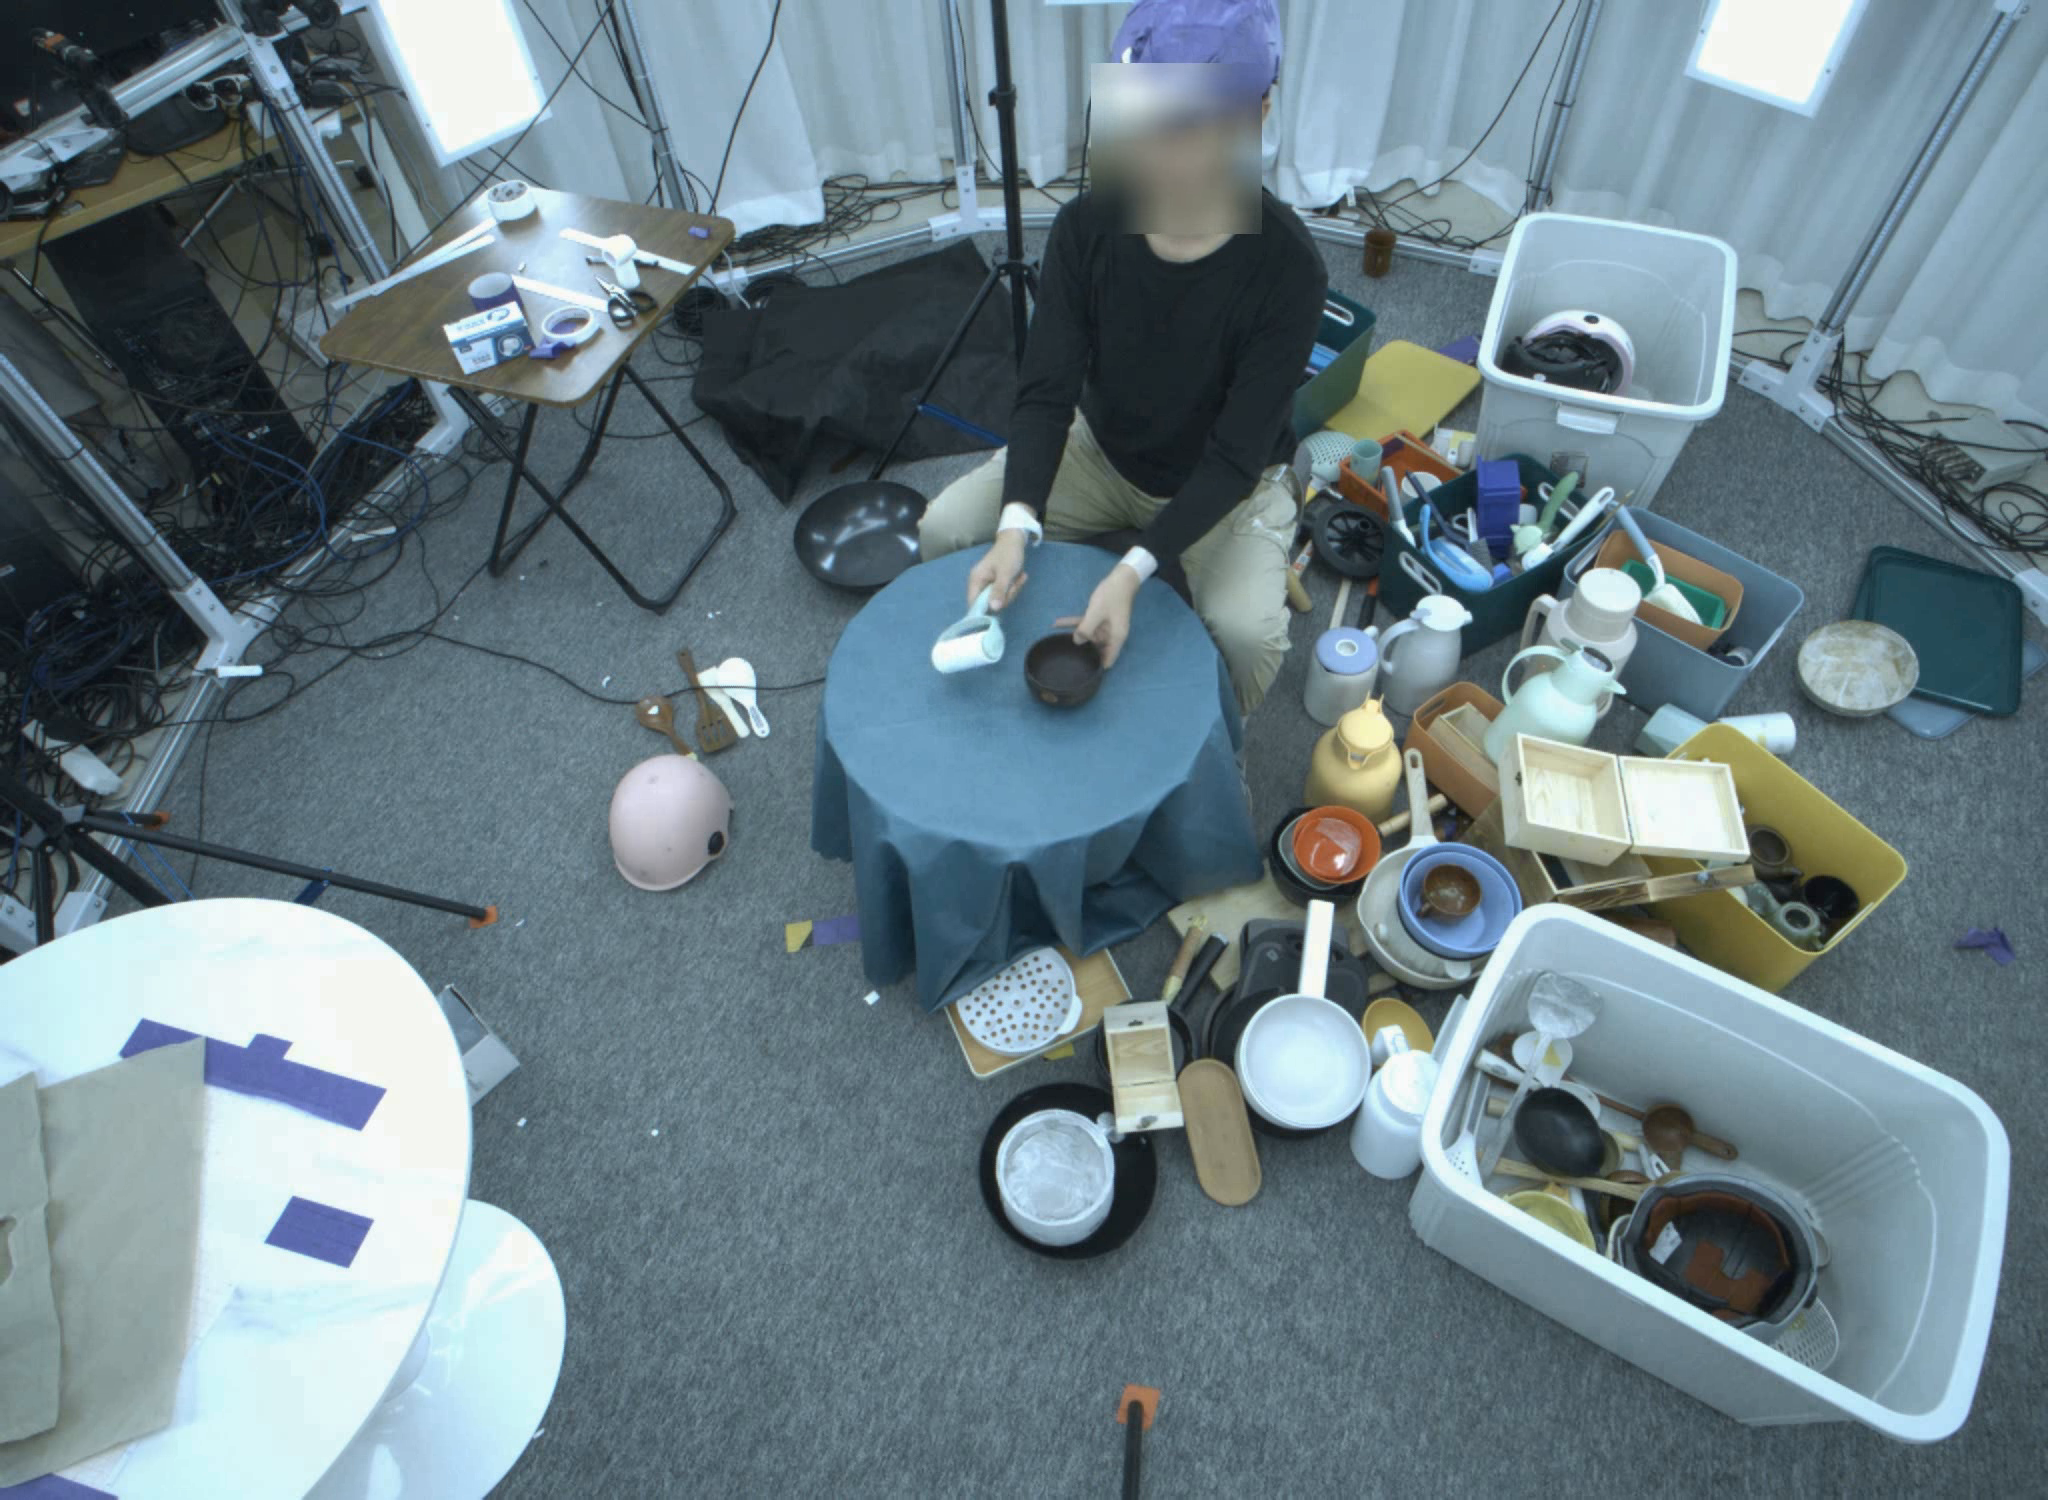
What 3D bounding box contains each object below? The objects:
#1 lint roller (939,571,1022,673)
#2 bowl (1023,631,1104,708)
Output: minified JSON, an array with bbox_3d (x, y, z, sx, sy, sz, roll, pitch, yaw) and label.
[{"bbox_3d":[-0.051,-0.204,1.828,0.114,0.049,0.197,-13,45,44],"label":"lint roller"},{"bbox_3d":[0.059,-0.111,1.819,0.118,0.070,0.117,0,53,2],"label":"bowl"}]
